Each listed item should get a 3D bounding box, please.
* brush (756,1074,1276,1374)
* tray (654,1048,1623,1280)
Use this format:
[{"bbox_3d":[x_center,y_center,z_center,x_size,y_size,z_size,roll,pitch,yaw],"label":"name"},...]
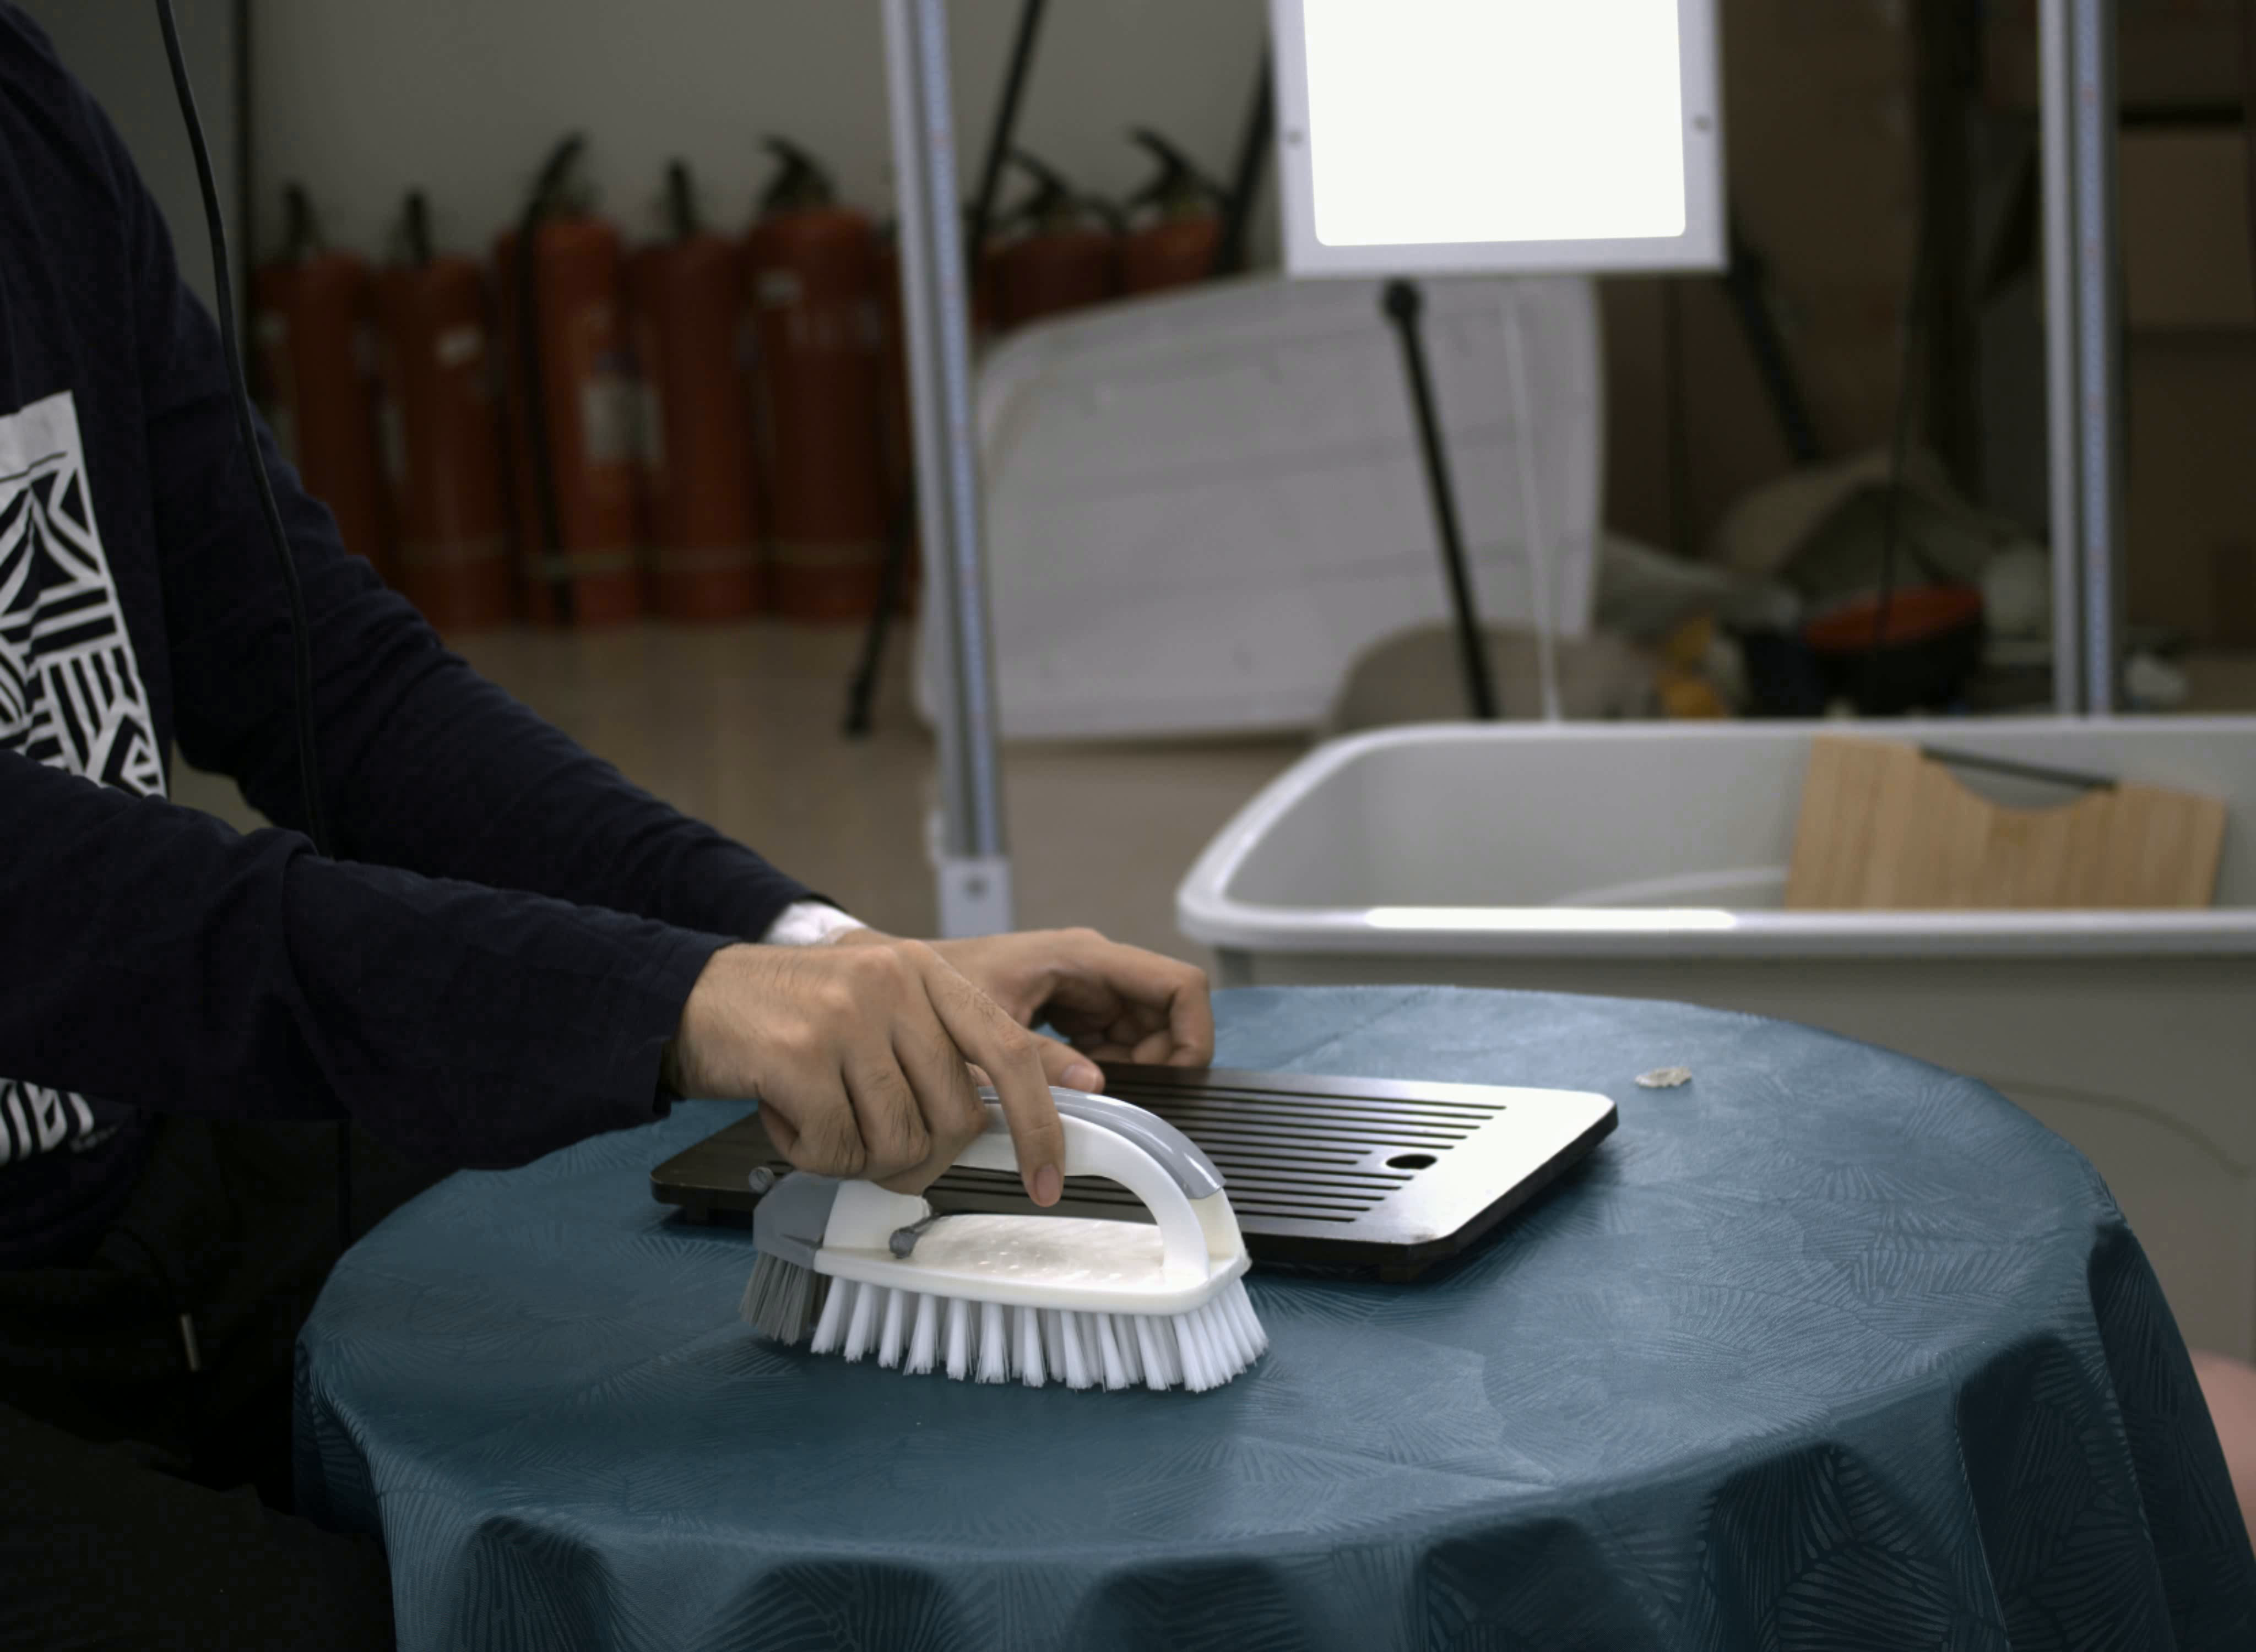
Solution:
[{"bbox_3d":[-0.043,0.124,1.742,0.178,0.094,0.060,0,16,25],"label":"brush"},{"bbox_3d":[0.004,0.115,1.908,0.311,0.019,0.166,2,15,29],"label":"tray"}]
